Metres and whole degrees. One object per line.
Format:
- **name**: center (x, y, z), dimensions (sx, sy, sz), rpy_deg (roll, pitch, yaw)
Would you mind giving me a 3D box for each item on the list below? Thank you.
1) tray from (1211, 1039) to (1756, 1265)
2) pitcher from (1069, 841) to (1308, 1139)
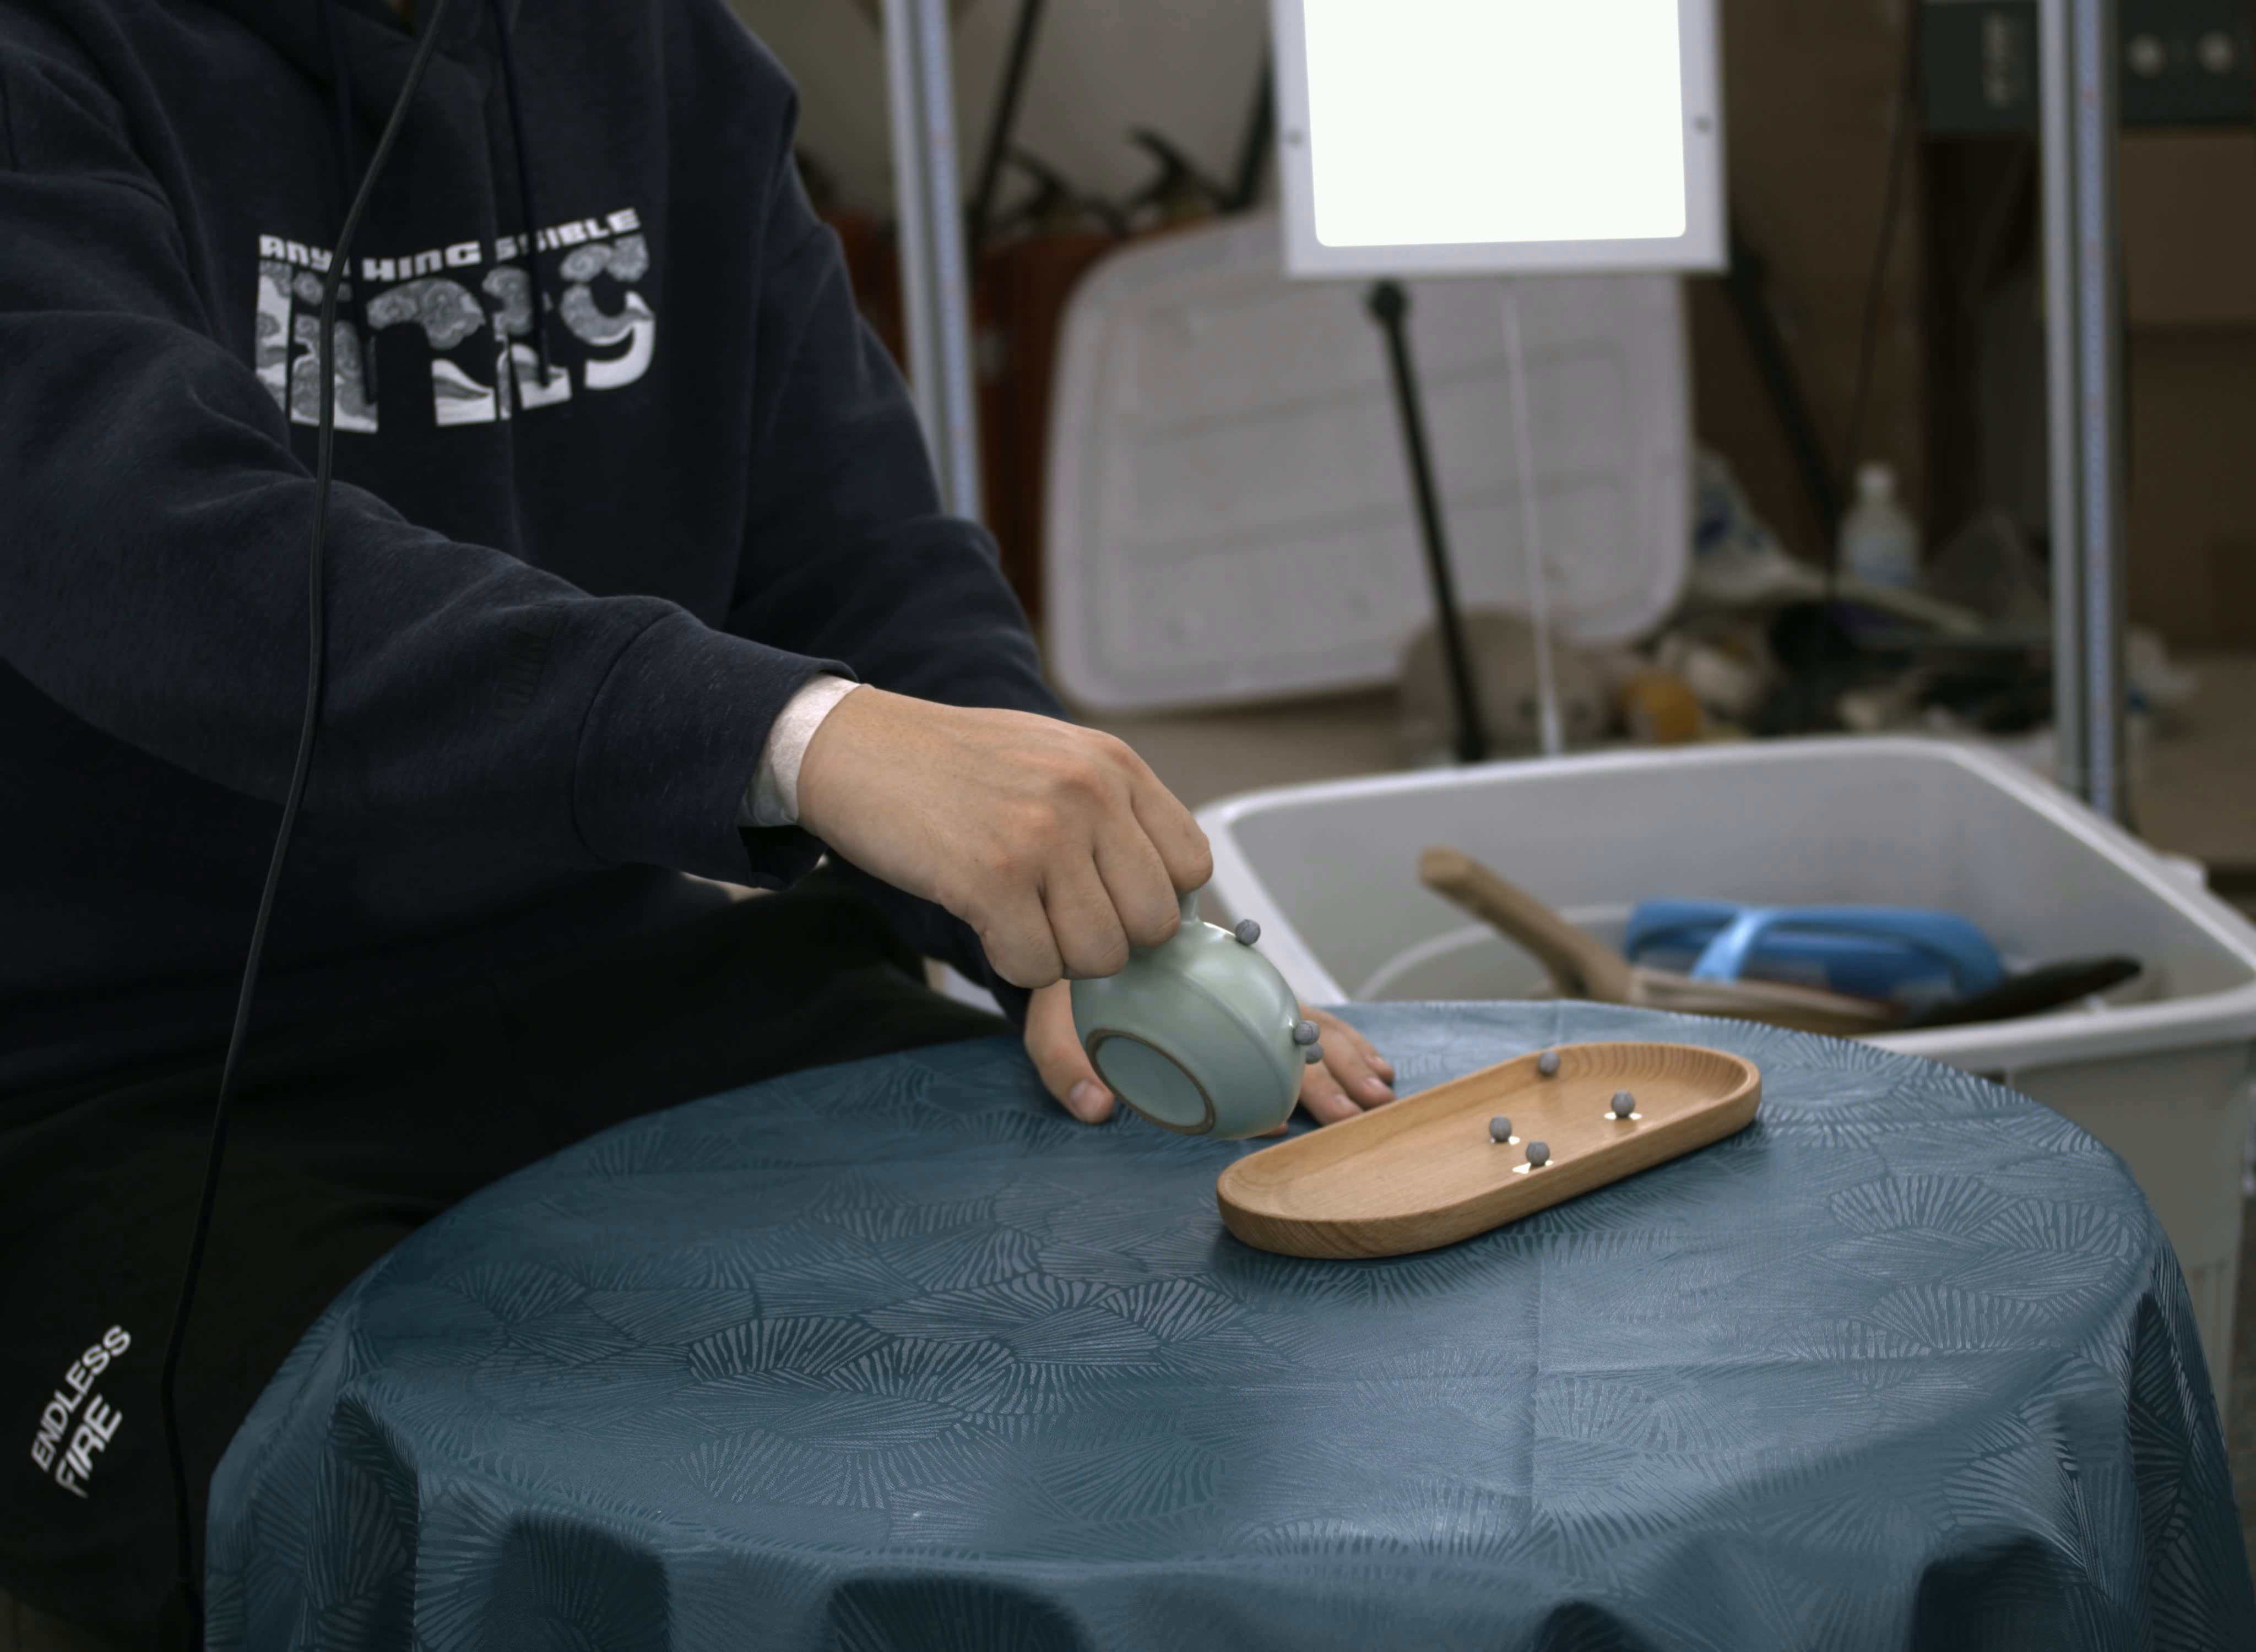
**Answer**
- **tray**: center (0.125, 0.111, 1.887), dimensions (0.225, 0.020, 0.104), rpy_deg (-20, 18, -40)
- **pitcher**: center (0.018, 0.056, 1.790), dimensions (0.088, 0.107, 0.059), rpy_deg (7, 51, 45)
